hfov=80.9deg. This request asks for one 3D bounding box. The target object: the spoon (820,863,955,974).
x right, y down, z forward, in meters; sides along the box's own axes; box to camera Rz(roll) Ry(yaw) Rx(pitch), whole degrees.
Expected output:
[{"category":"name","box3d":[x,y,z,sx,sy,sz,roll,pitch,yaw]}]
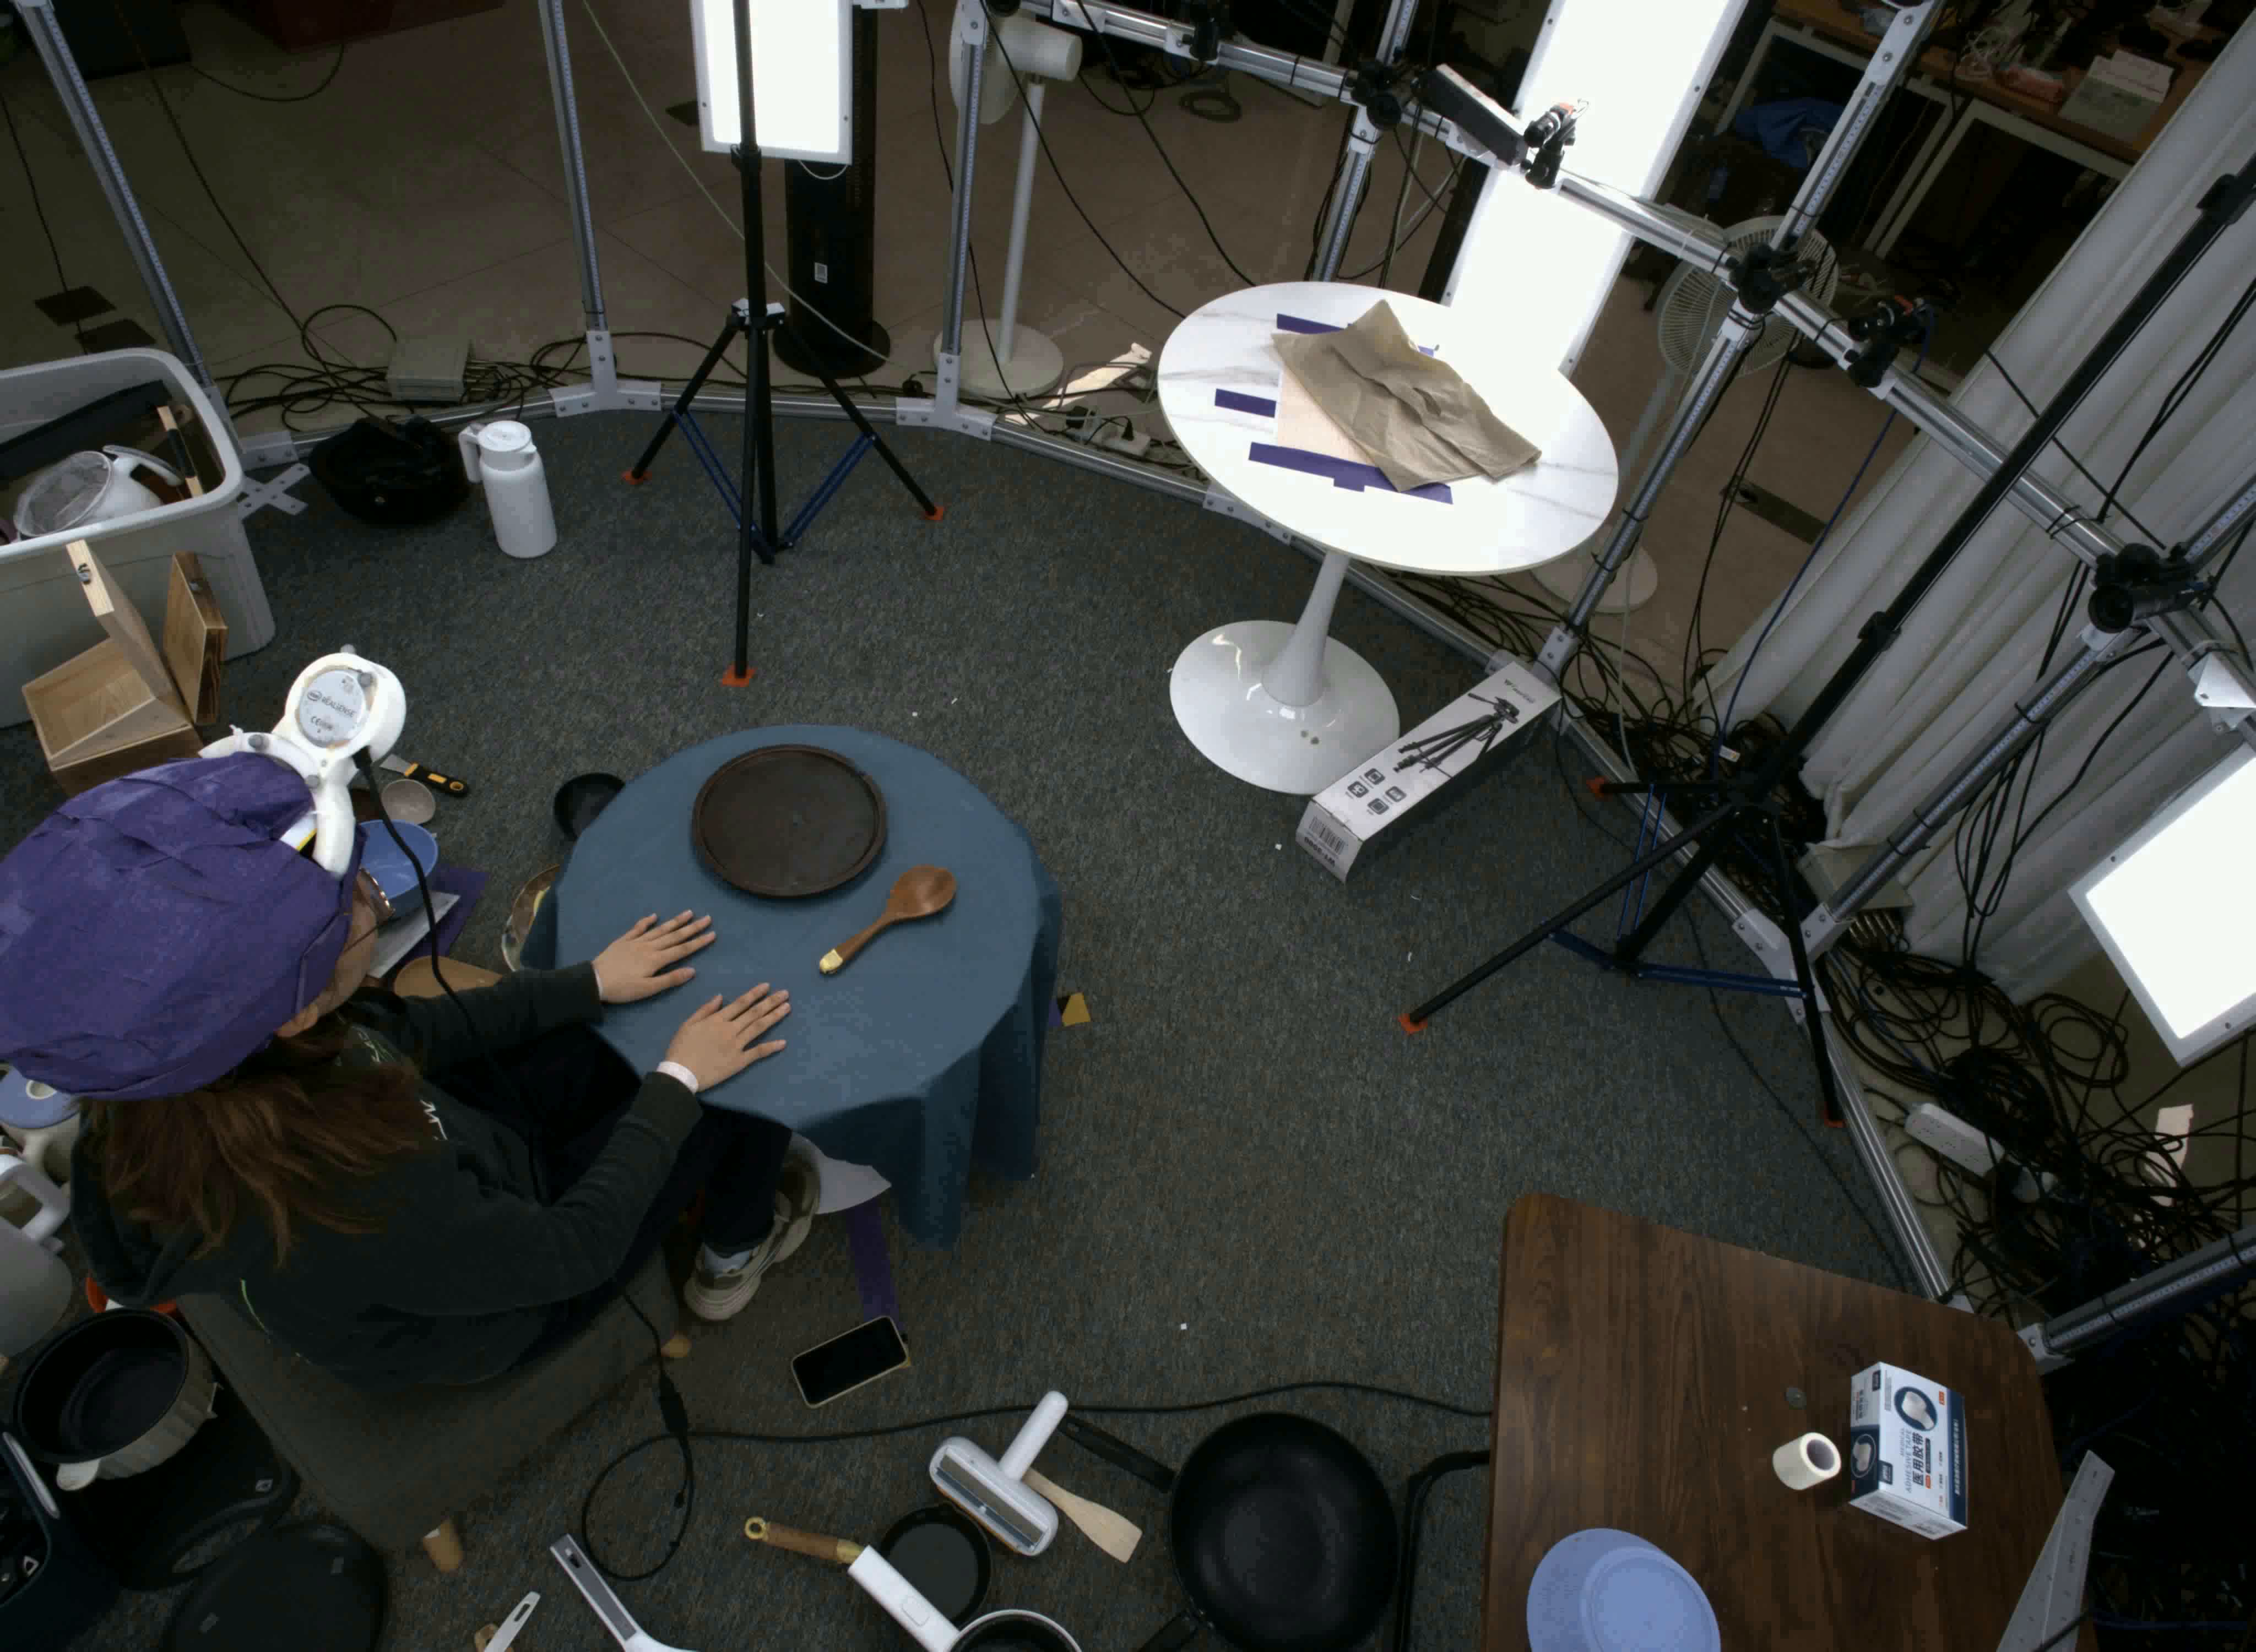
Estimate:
[{"category":"spoon","box3d":[-0.308,0.118,1.660,0.074,0.017,0.216,39,54,15]}]

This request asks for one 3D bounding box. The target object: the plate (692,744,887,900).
[{"category":"plate","box3d":[-0.446,-0.008,1.715,0.254,0.029,0.250,8,51,-8]}]
